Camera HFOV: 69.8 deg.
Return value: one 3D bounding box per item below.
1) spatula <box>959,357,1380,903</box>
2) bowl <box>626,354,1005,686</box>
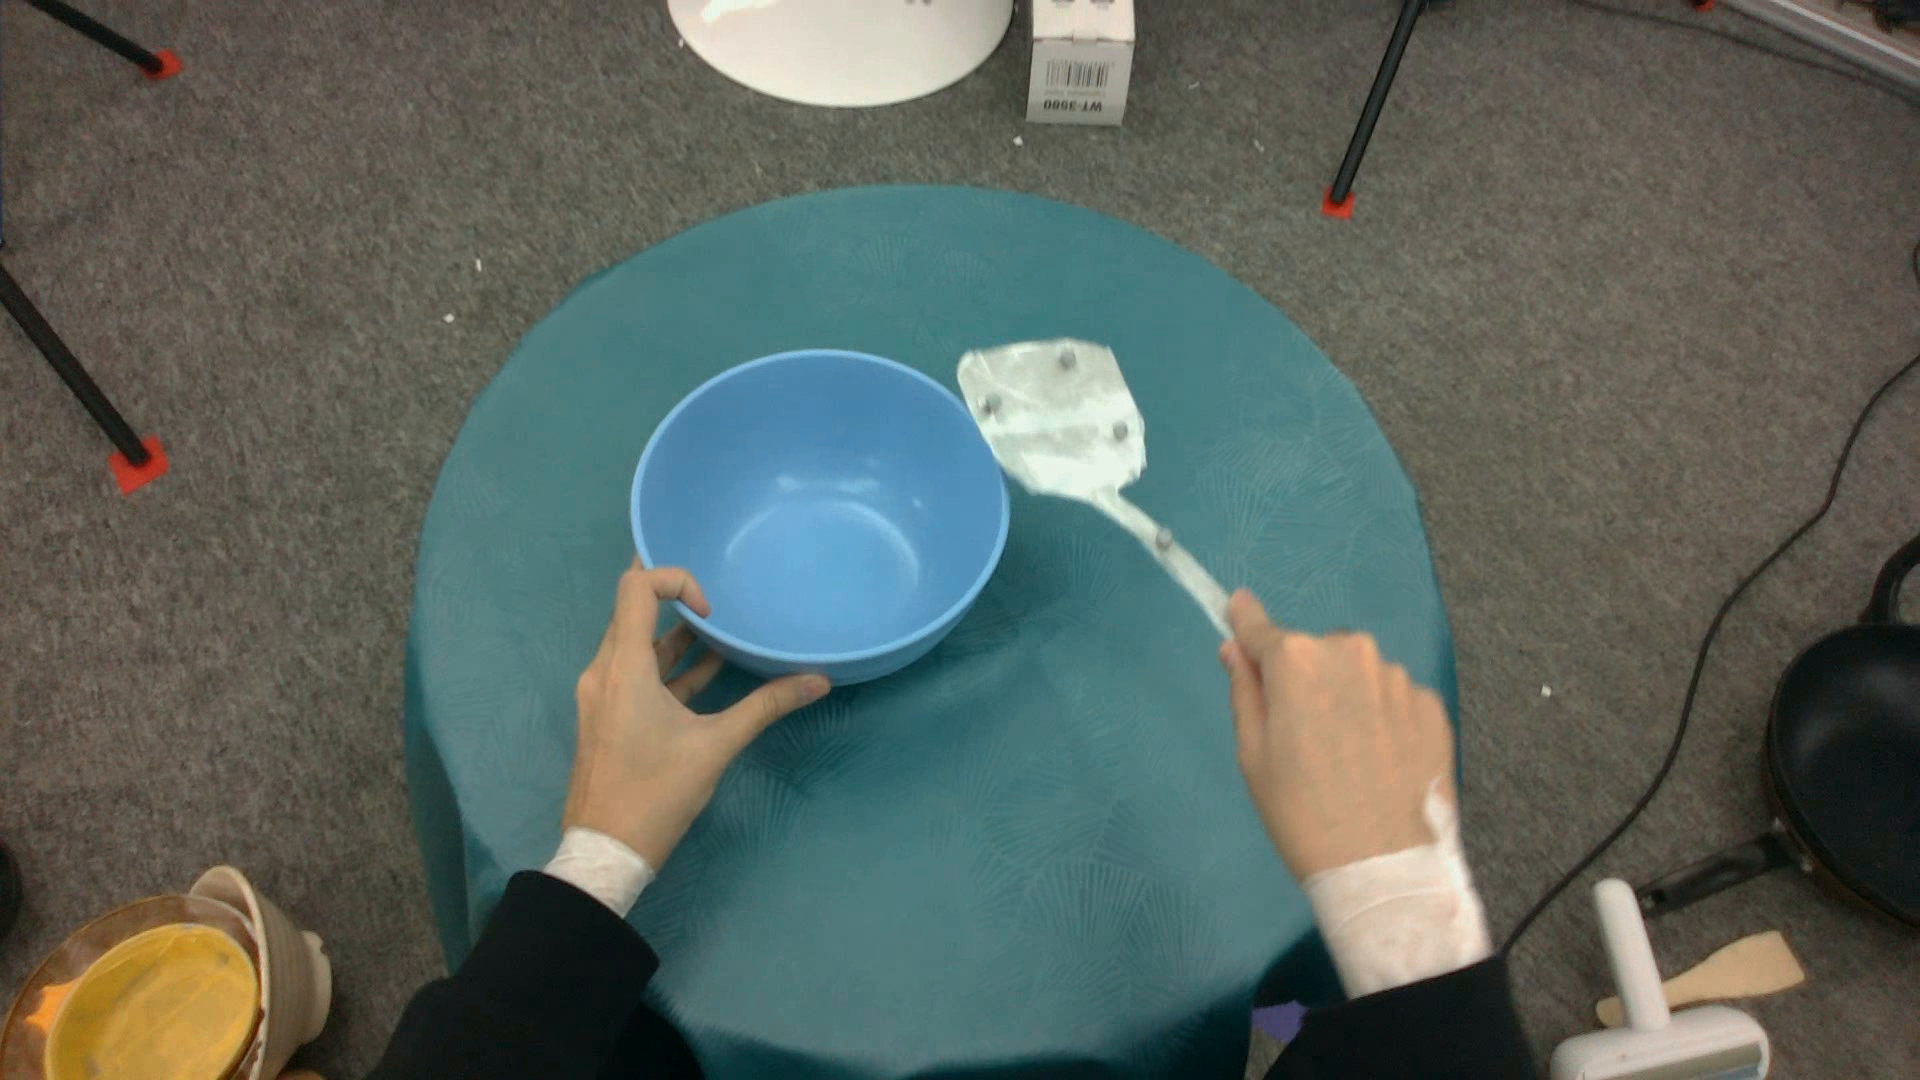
[{"bbox_3d":[0.102,0.018,0.659,0.099,0.044,0.366,-4,37,-25],"label":"spatula"},{"bbox_3d":[-0.078,0.002,0.754,0.196,0.095,0.197,3,55,-4],"label":"bowl"}]
